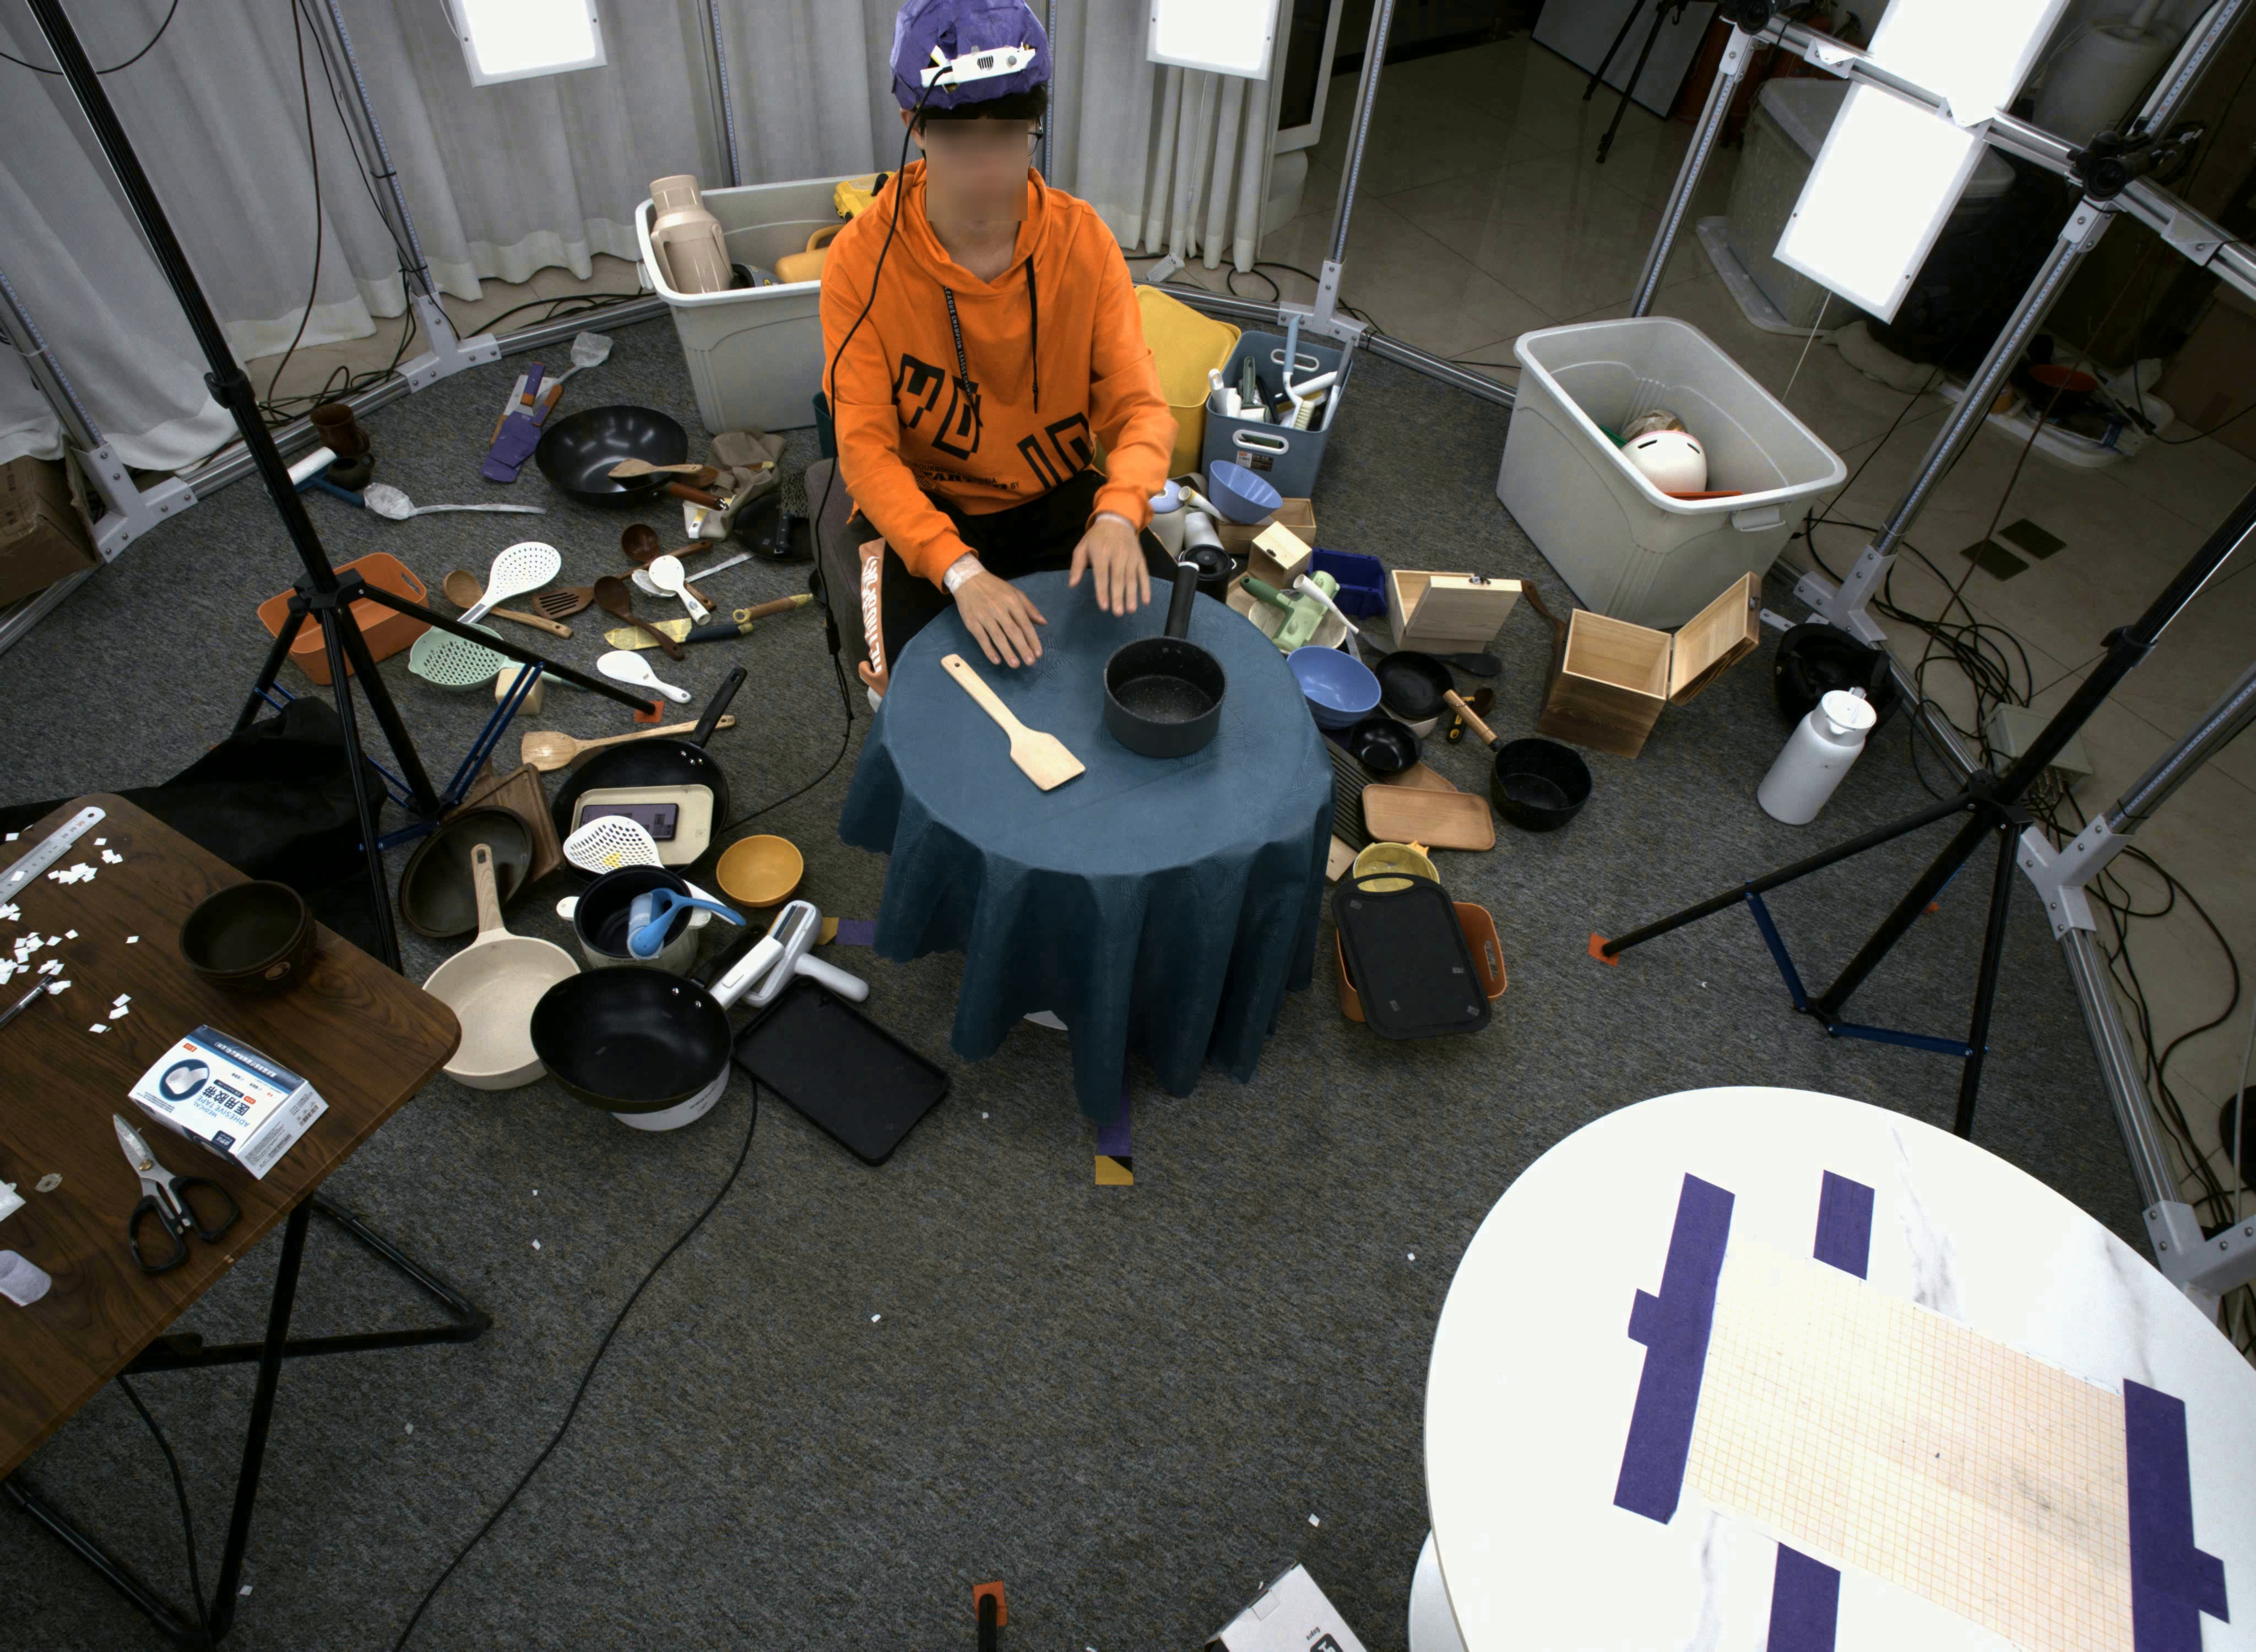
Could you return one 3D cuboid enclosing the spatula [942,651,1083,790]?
[{"bbox_3d":[-0.173,-0.153,1.784,0.072,0.010,0.298,-29,57,-22],"label":"spatula"}]

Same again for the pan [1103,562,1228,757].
[{"bbox_3d":[0.065,-0.240,1.827,0.172,0.084,0.336,12,51,5],"label":"pan"}]
